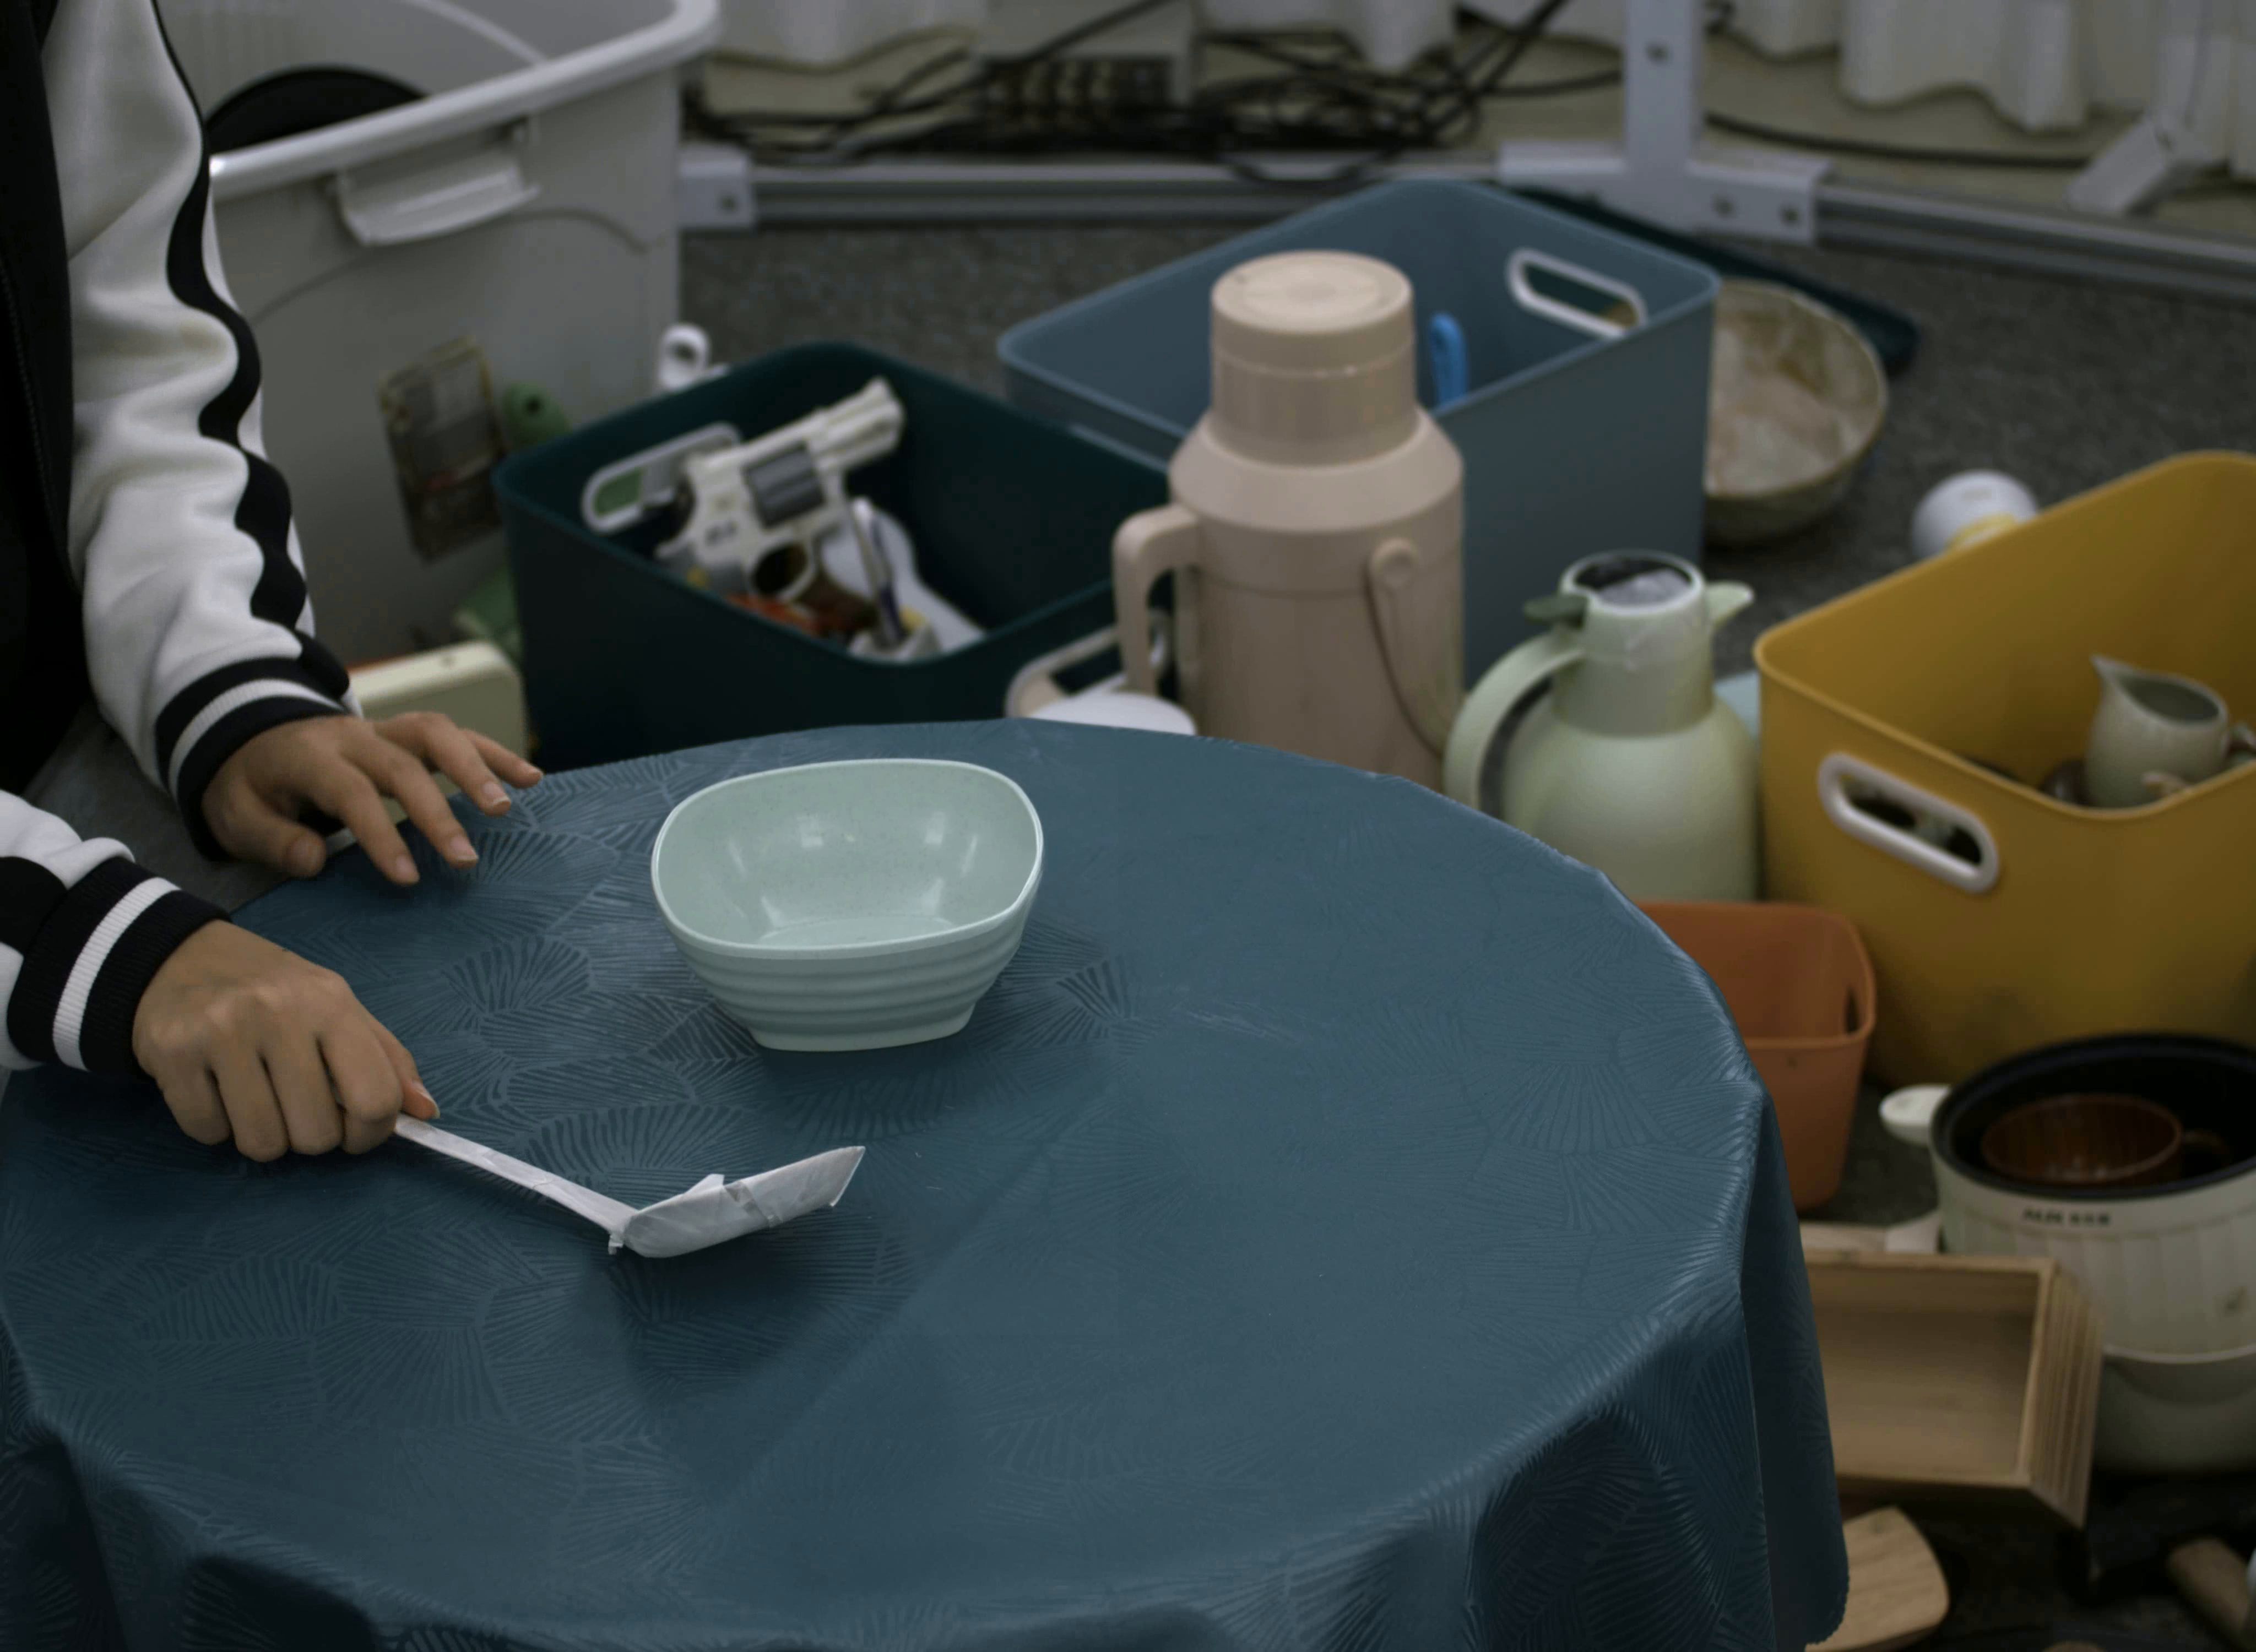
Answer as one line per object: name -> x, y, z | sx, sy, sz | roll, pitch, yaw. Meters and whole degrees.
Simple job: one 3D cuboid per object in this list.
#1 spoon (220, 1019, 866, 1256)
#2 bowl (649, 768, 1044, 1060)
spoon -> -0.202, 0.088, 1.880 | 0.277, 0.059, 0.101 | 22, 15, 36
bowl -> -0.097, 0.037, 1.979 | 0.151, 0.058, 0.154 | -2, 27, 1
